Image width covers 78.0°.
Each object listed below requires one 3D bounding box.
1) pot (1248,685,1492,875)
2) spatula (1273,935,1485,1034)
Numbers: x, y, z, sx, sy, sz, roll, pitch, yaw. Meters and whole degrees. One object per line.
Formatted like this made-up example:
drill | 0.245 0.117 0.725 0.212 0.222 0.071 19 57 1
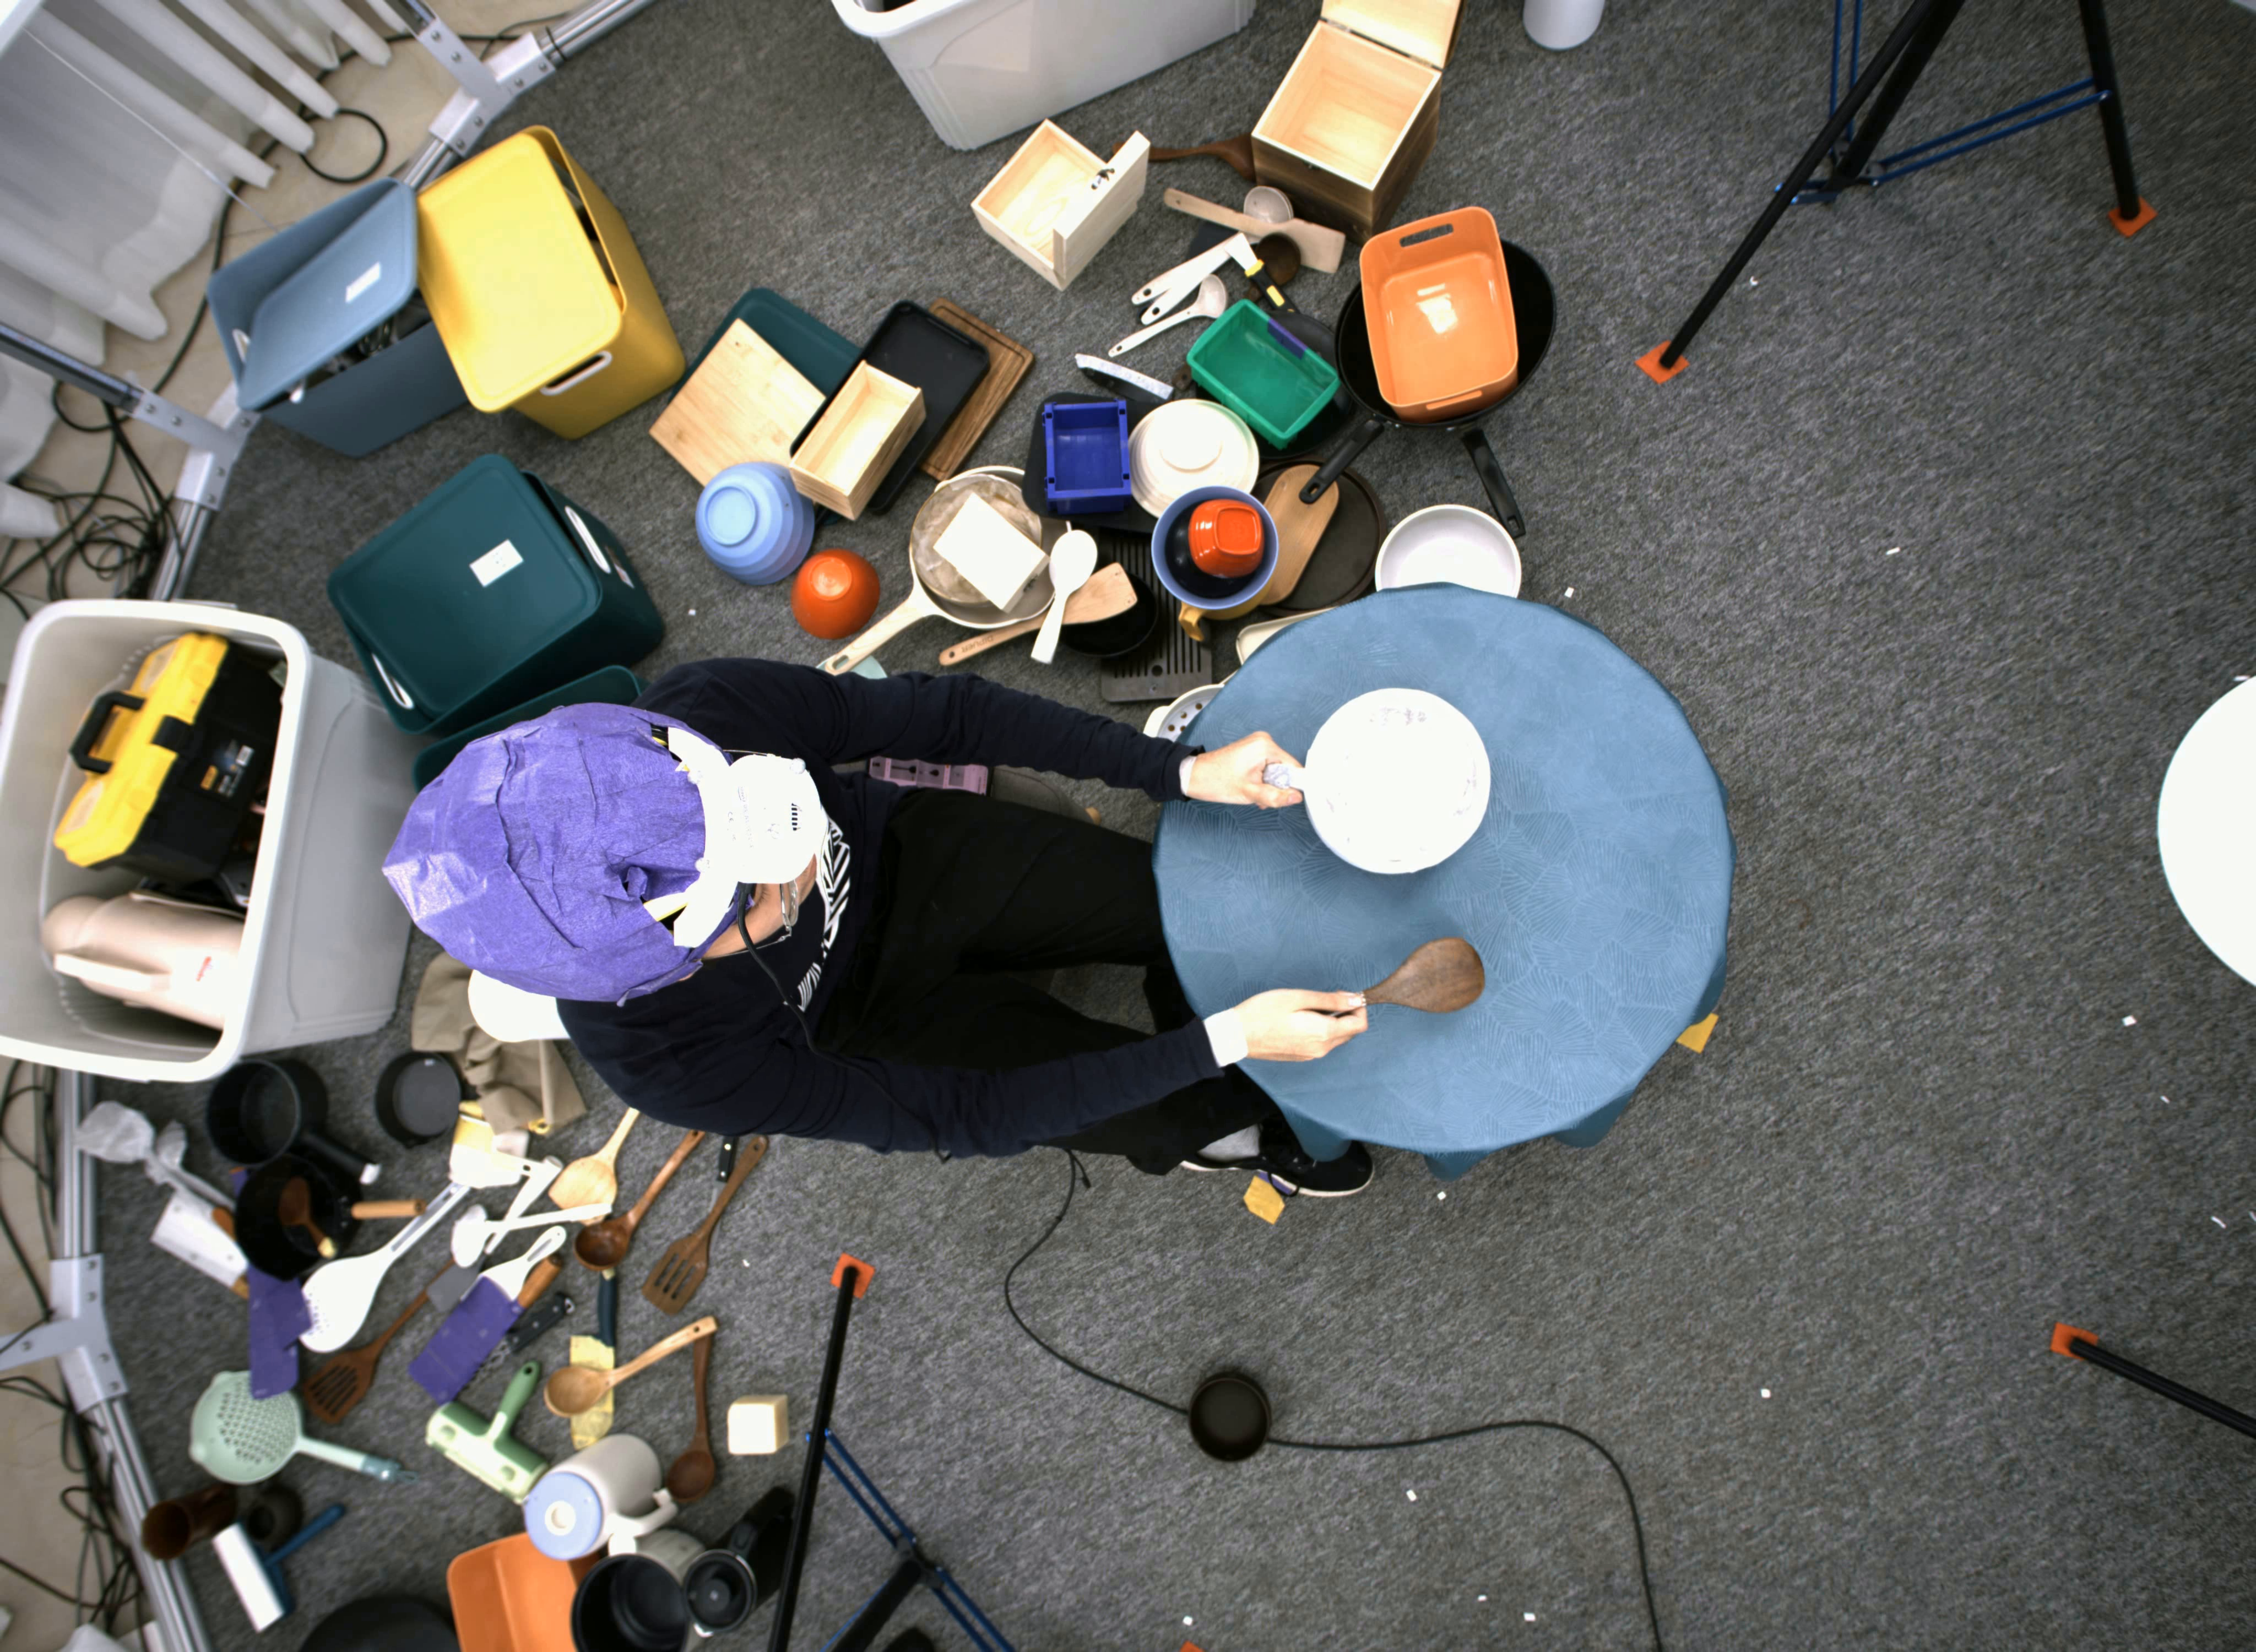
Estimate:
pot | 0.237 -0.043 1.382 0.234 0.137 0.178 1 85 6
spatula | 0.245 0.163 1.364 0.216 0.009 0.071 -17 79 4
